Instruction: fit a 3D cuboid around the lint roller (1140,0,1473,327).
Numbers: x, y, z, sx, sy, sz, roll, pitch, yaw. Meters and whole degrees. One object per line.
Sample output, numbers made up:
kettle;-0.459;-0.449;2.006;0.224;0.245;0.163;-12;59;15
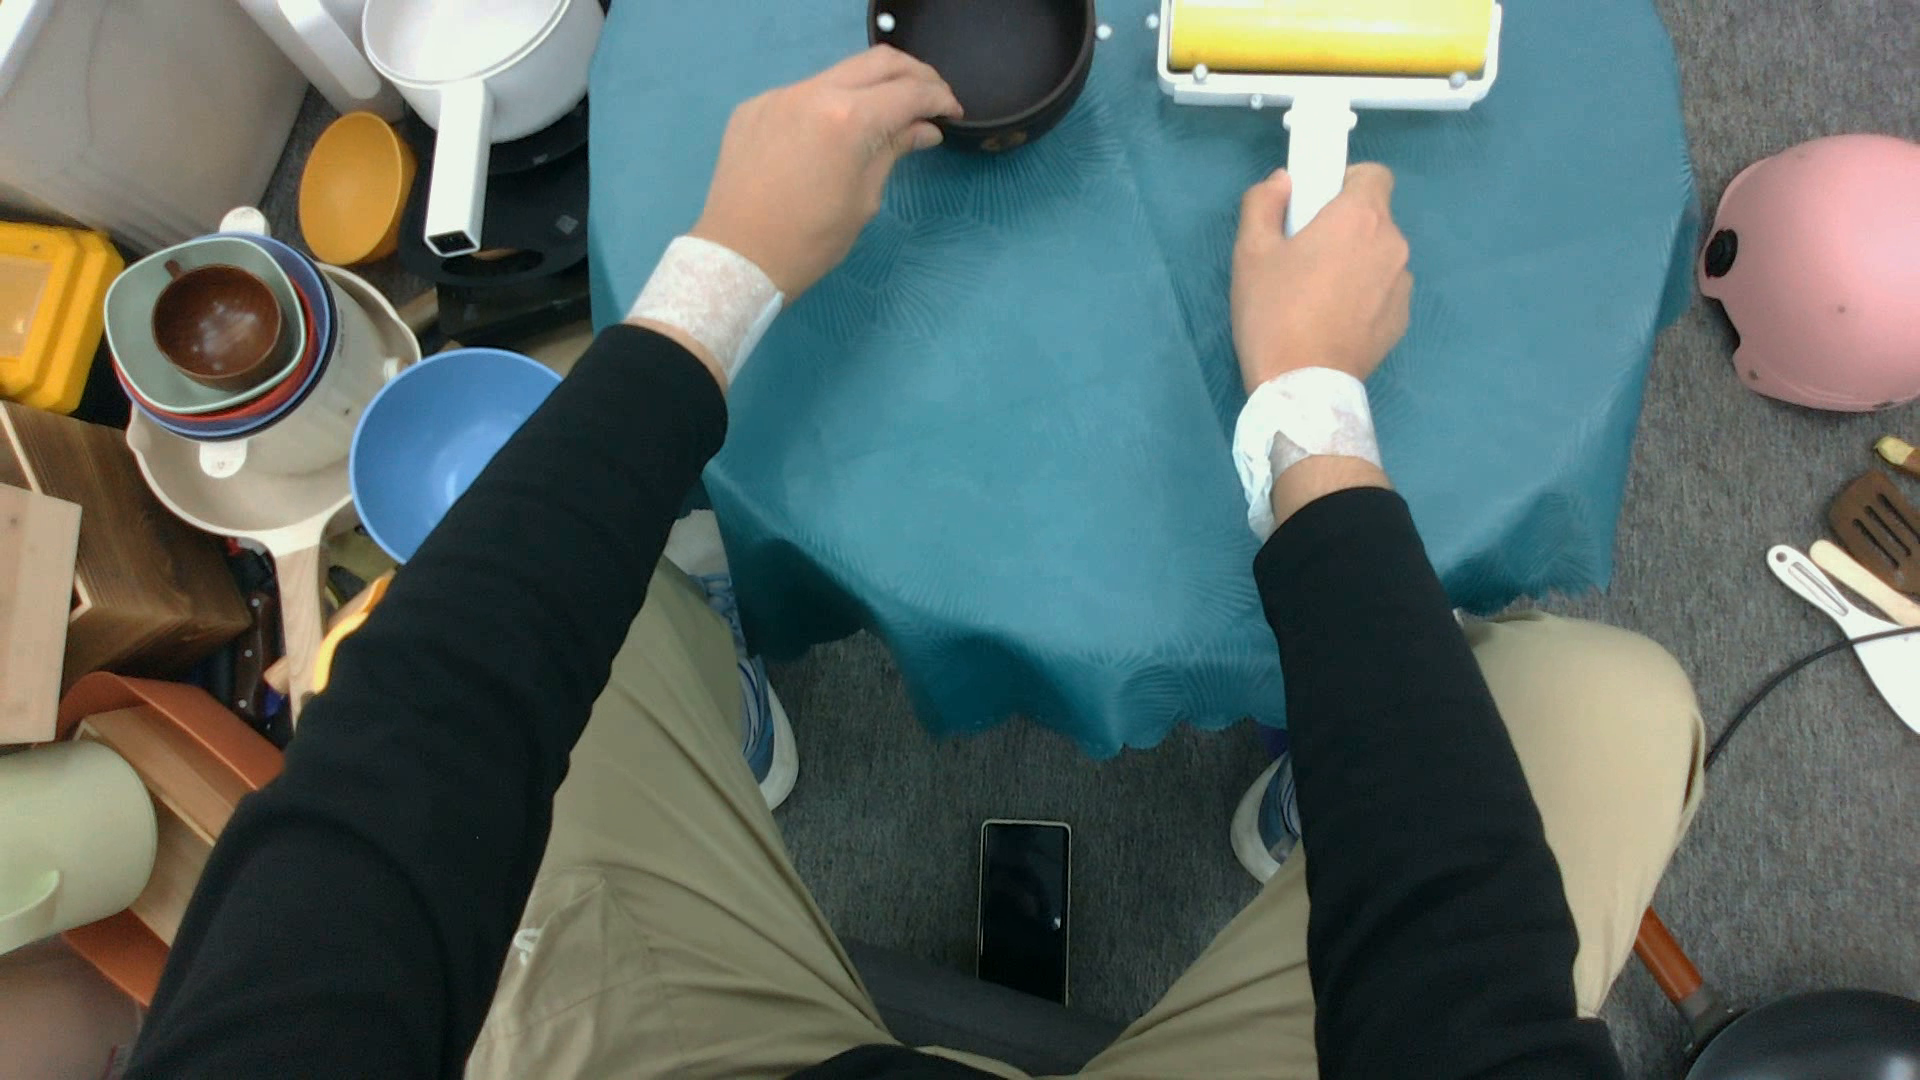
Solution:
lint roller;0.179;-0.206;0.716;0.174;0.051;0.192;2;67;7

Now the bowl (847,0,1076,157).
bowl;0.002;-0.258;0.731;0.118;0.070;0.118;0;82;3
